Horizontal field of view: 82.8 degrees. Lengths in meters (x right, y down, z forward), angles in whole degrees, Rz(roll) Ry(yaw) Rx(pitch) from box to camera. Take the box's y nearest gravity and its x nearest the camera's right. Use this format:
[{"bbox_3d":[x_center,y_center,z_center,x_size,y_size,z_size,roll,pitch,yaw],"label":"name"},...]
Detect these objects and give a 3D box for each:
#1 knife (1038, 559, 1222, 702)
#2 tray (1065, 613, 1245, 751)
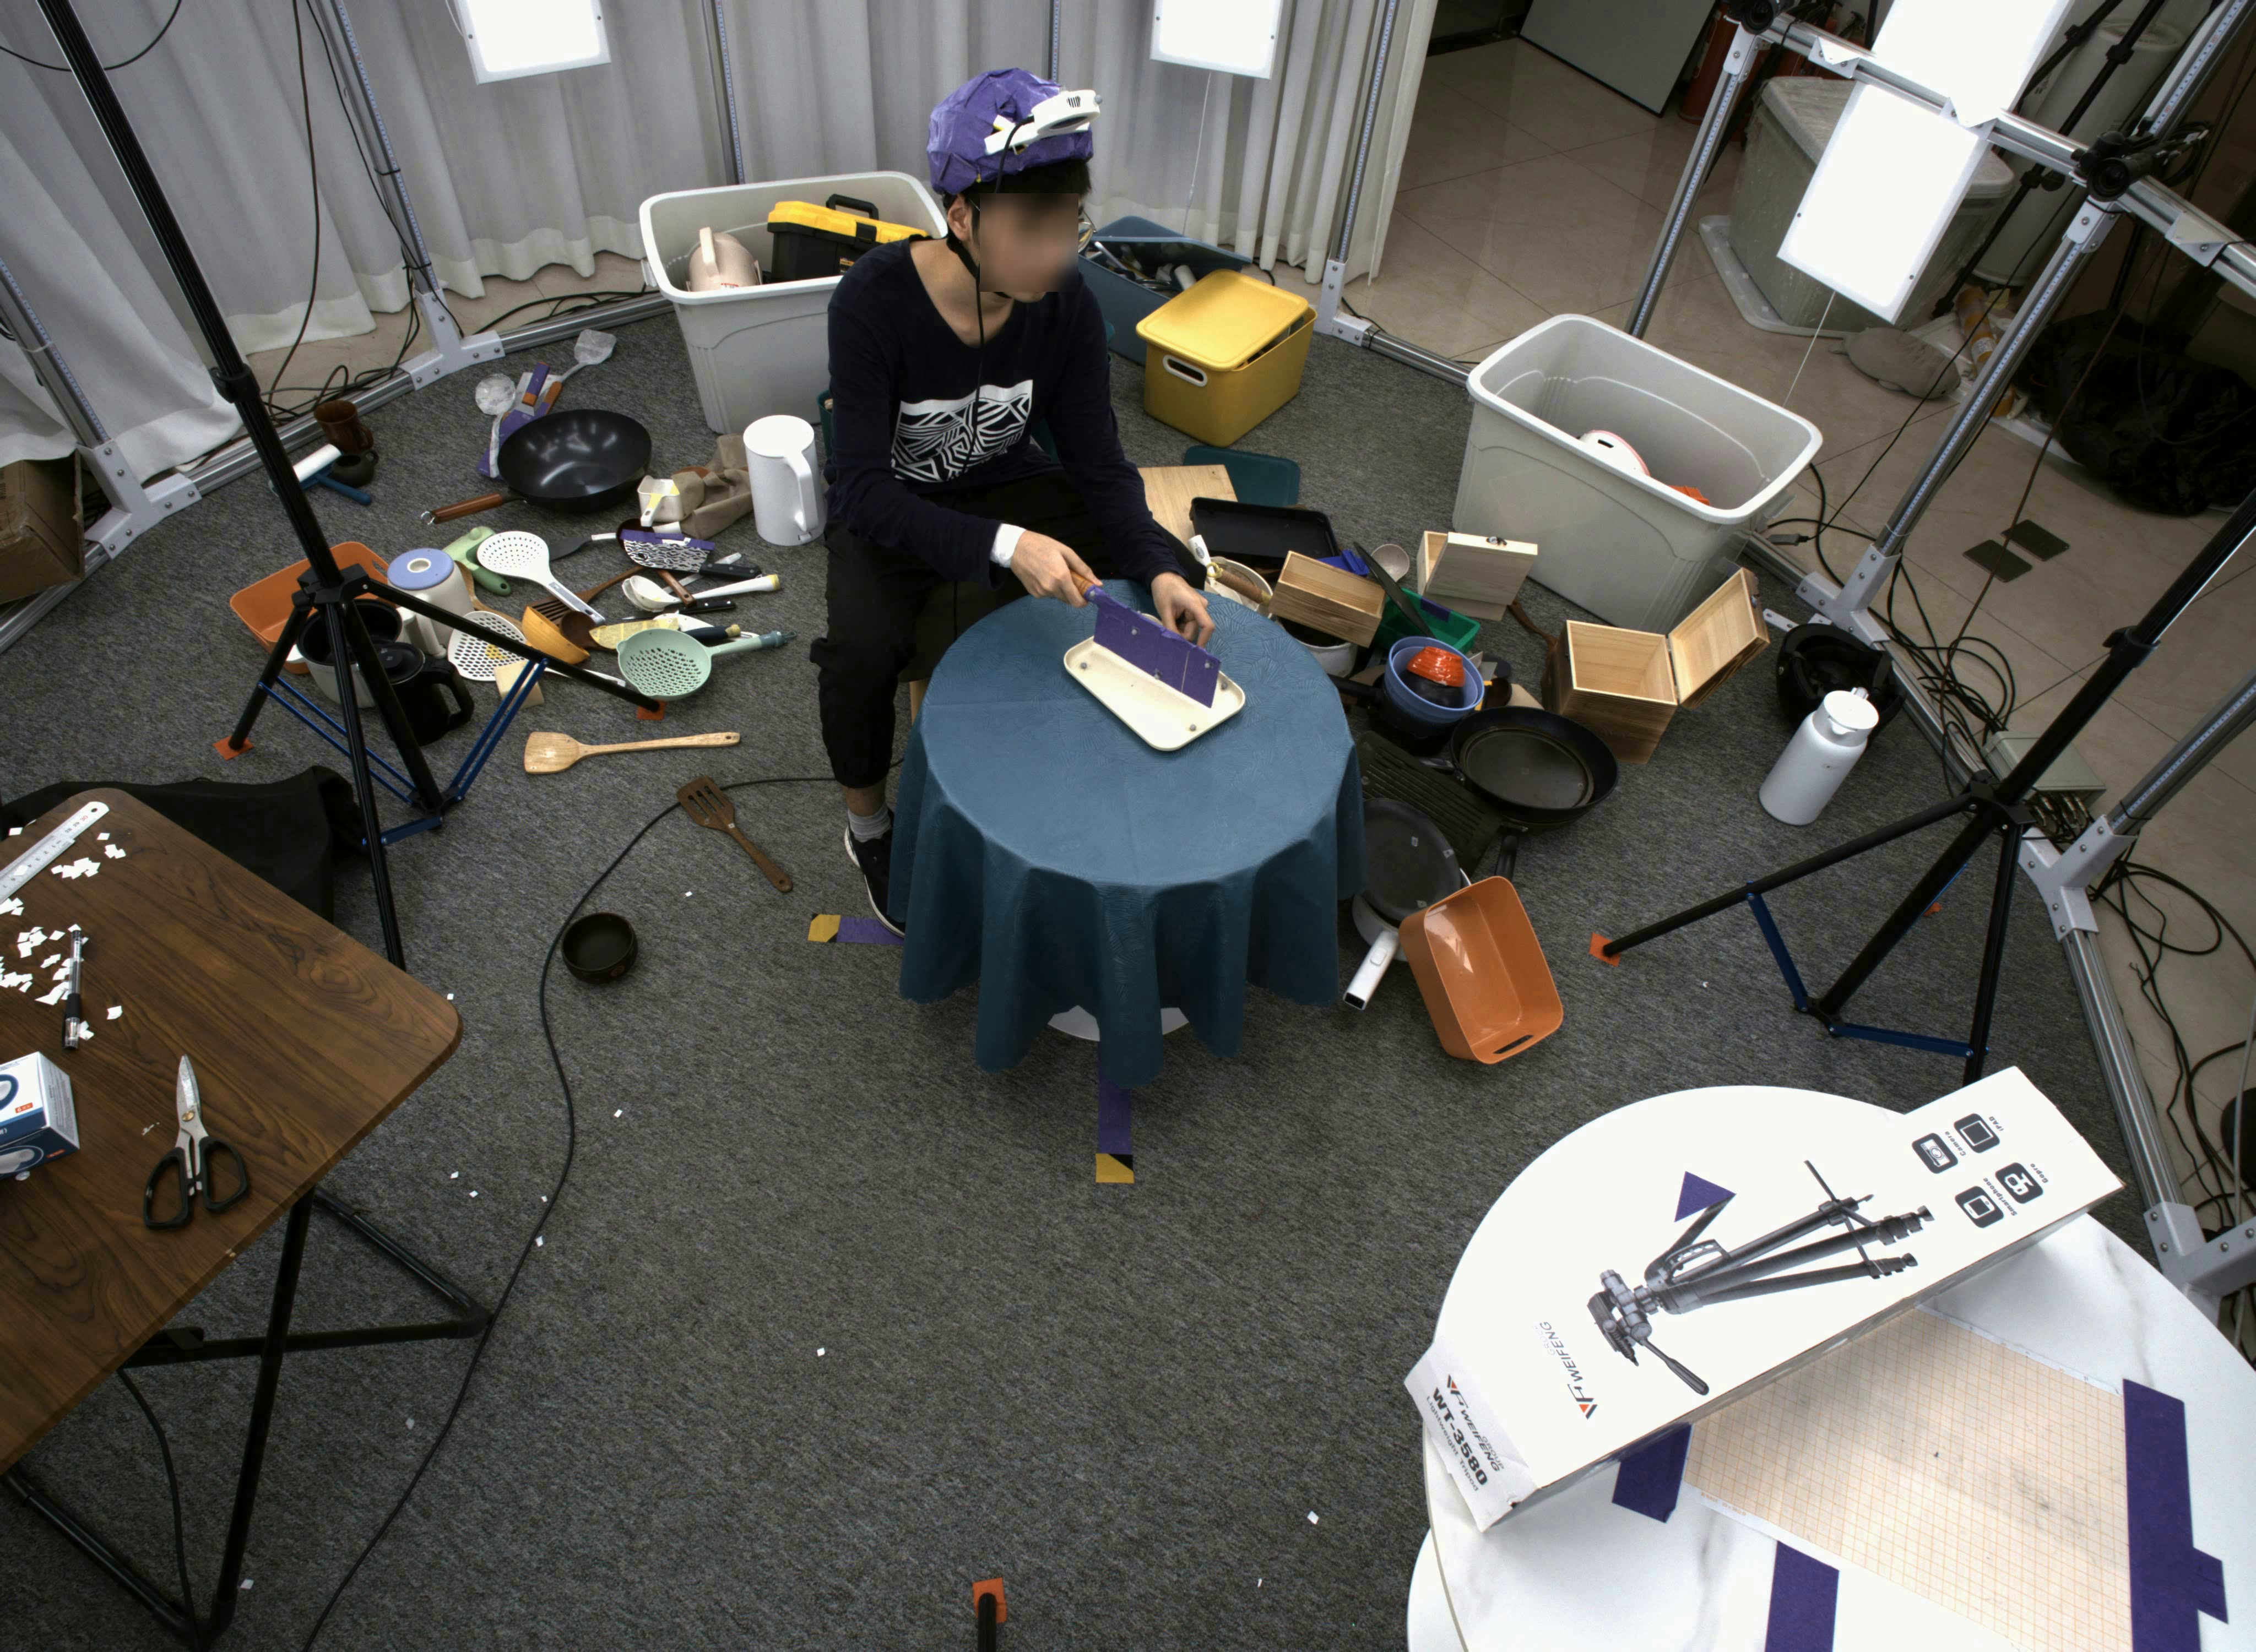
[{"bbox_3d":[-0.003,-0.273,1.822,0.319,0.101,0.032,34,49,22],"label":"knife"},{"bbox_3d":[0.037,-0.207,1.834,0.172,0.017,0.244,-32,58,-24],"label":"tray"}]
